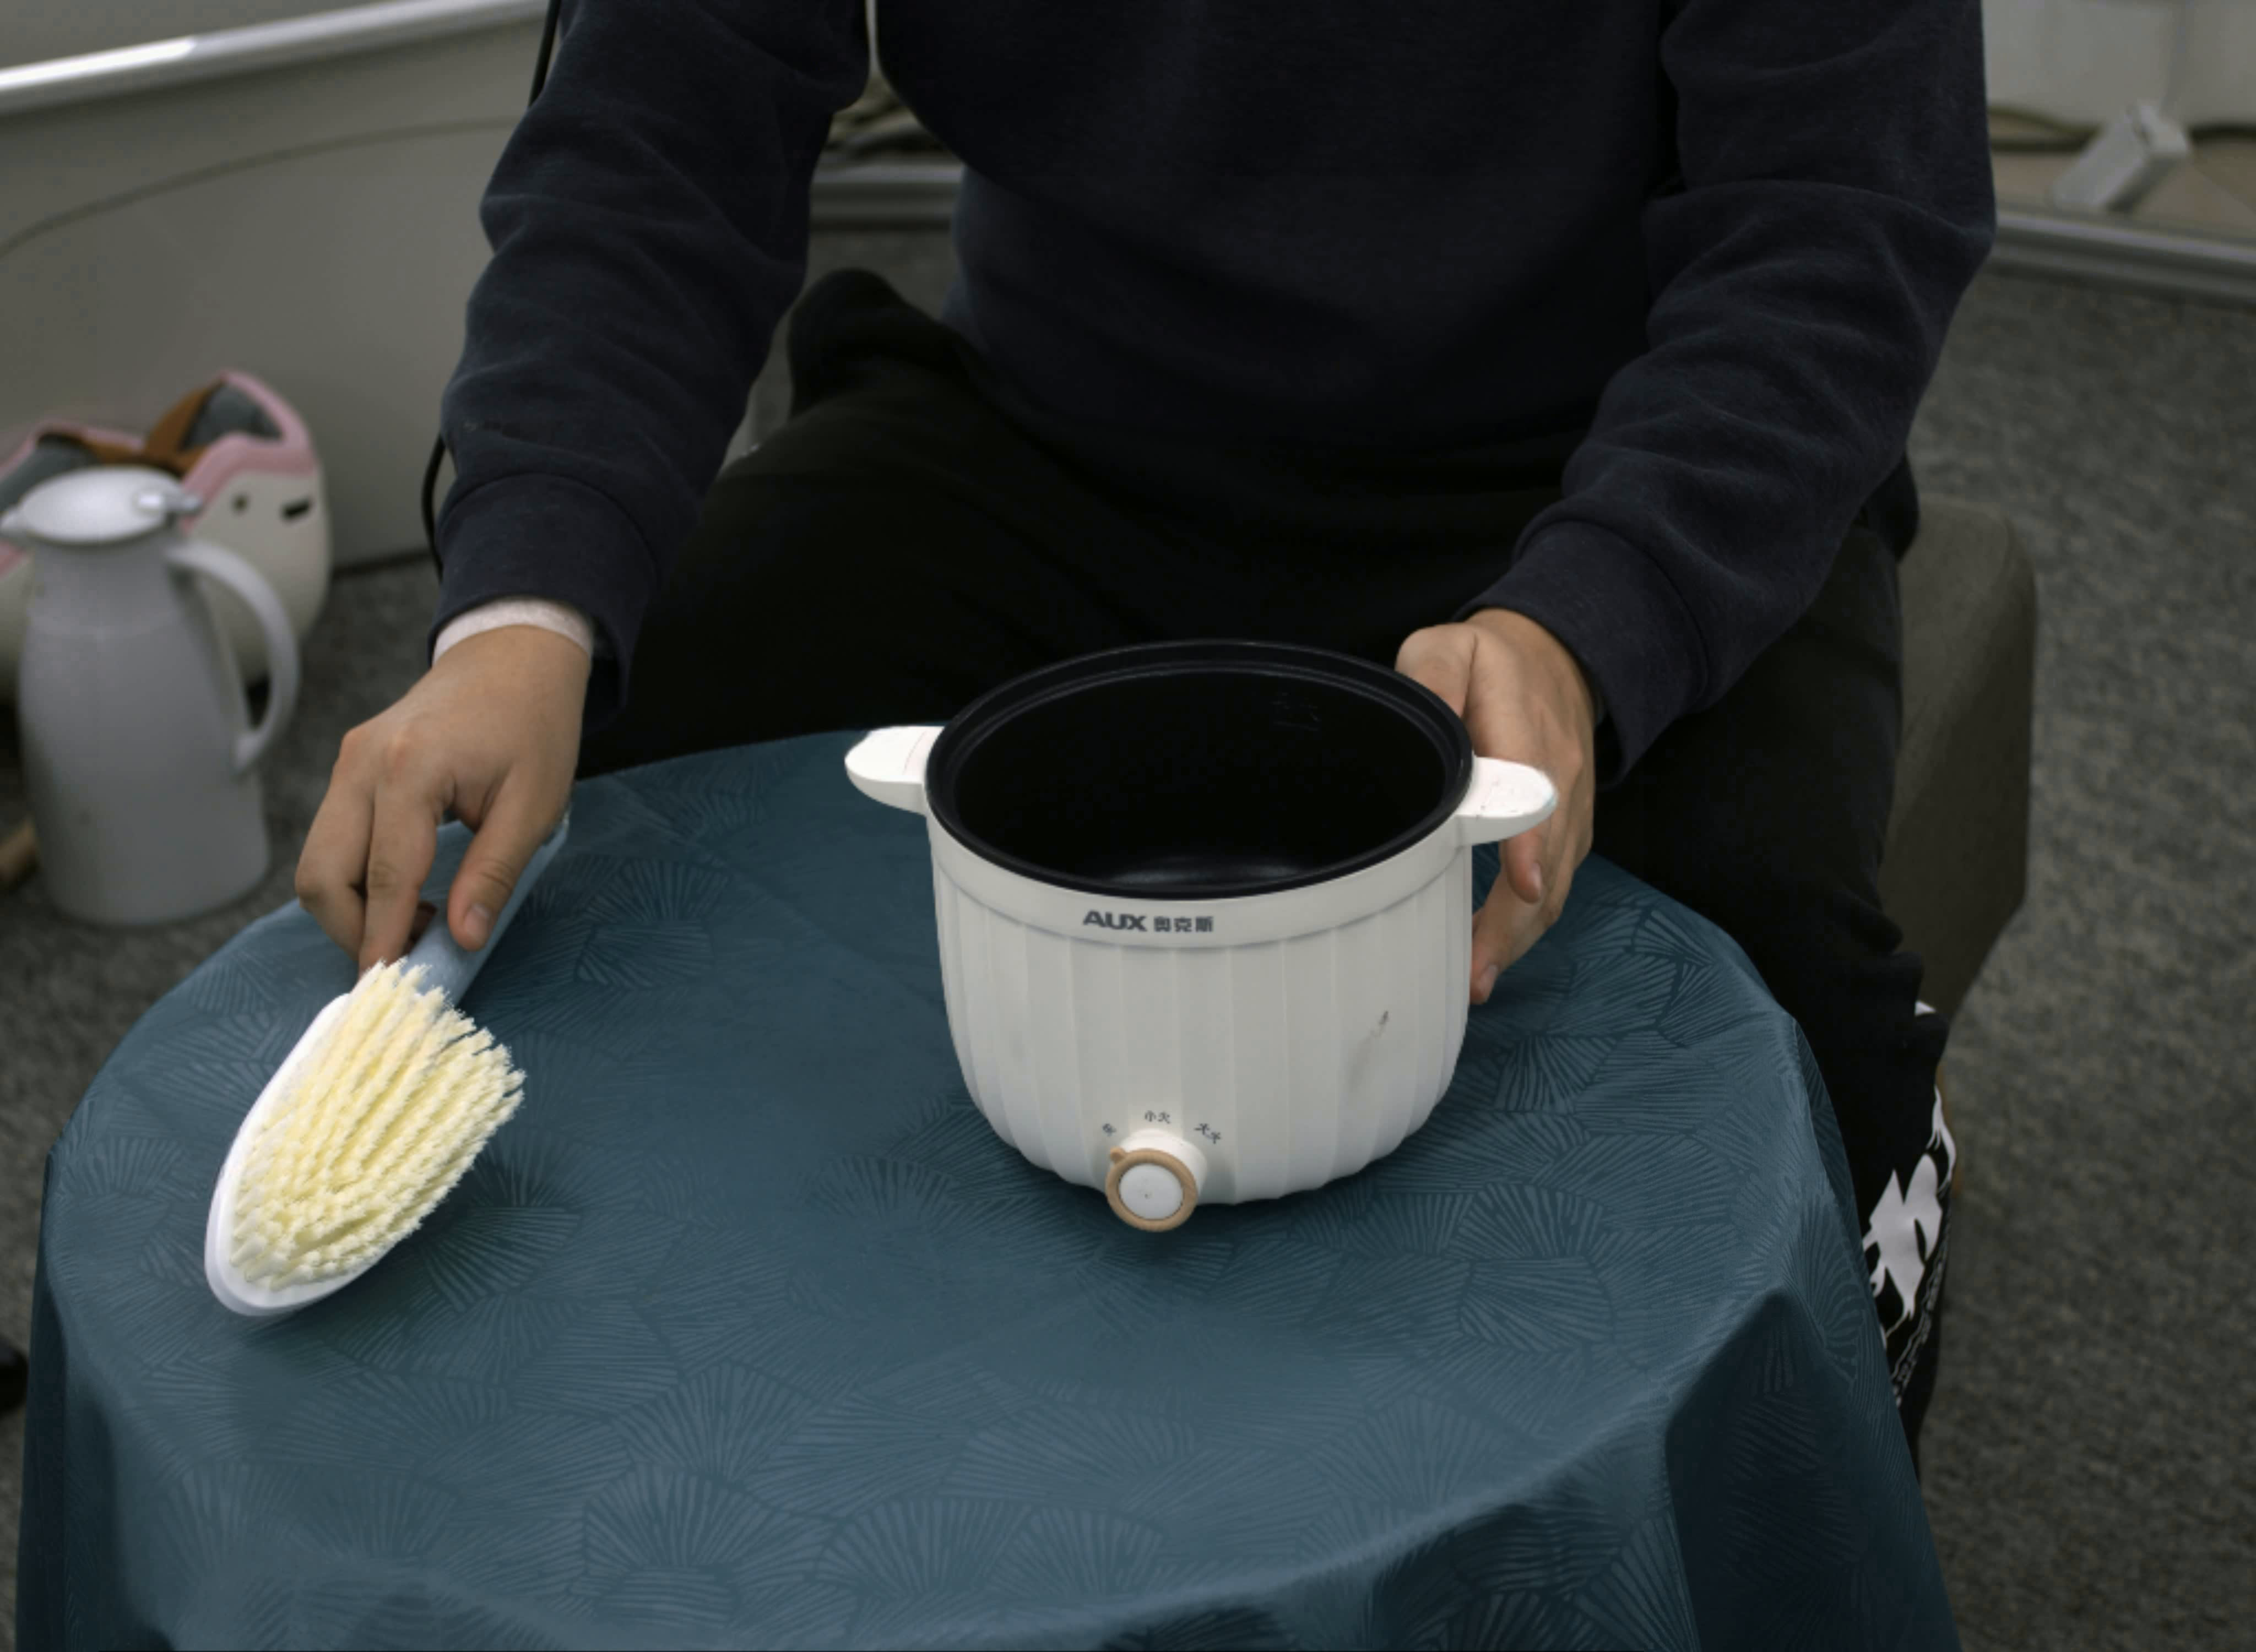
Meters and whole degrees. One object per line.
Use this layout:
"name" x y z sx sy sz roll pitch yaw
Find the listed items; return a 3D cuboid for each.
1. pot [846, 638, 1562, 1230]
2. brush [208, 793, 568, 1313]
"pot" 0.026 0.039 1.873 0.239 0.141 0.193 2 24 11
"brush" -0.233 0.054 1.926 0.084 0.082 0.331 -1 28 15
